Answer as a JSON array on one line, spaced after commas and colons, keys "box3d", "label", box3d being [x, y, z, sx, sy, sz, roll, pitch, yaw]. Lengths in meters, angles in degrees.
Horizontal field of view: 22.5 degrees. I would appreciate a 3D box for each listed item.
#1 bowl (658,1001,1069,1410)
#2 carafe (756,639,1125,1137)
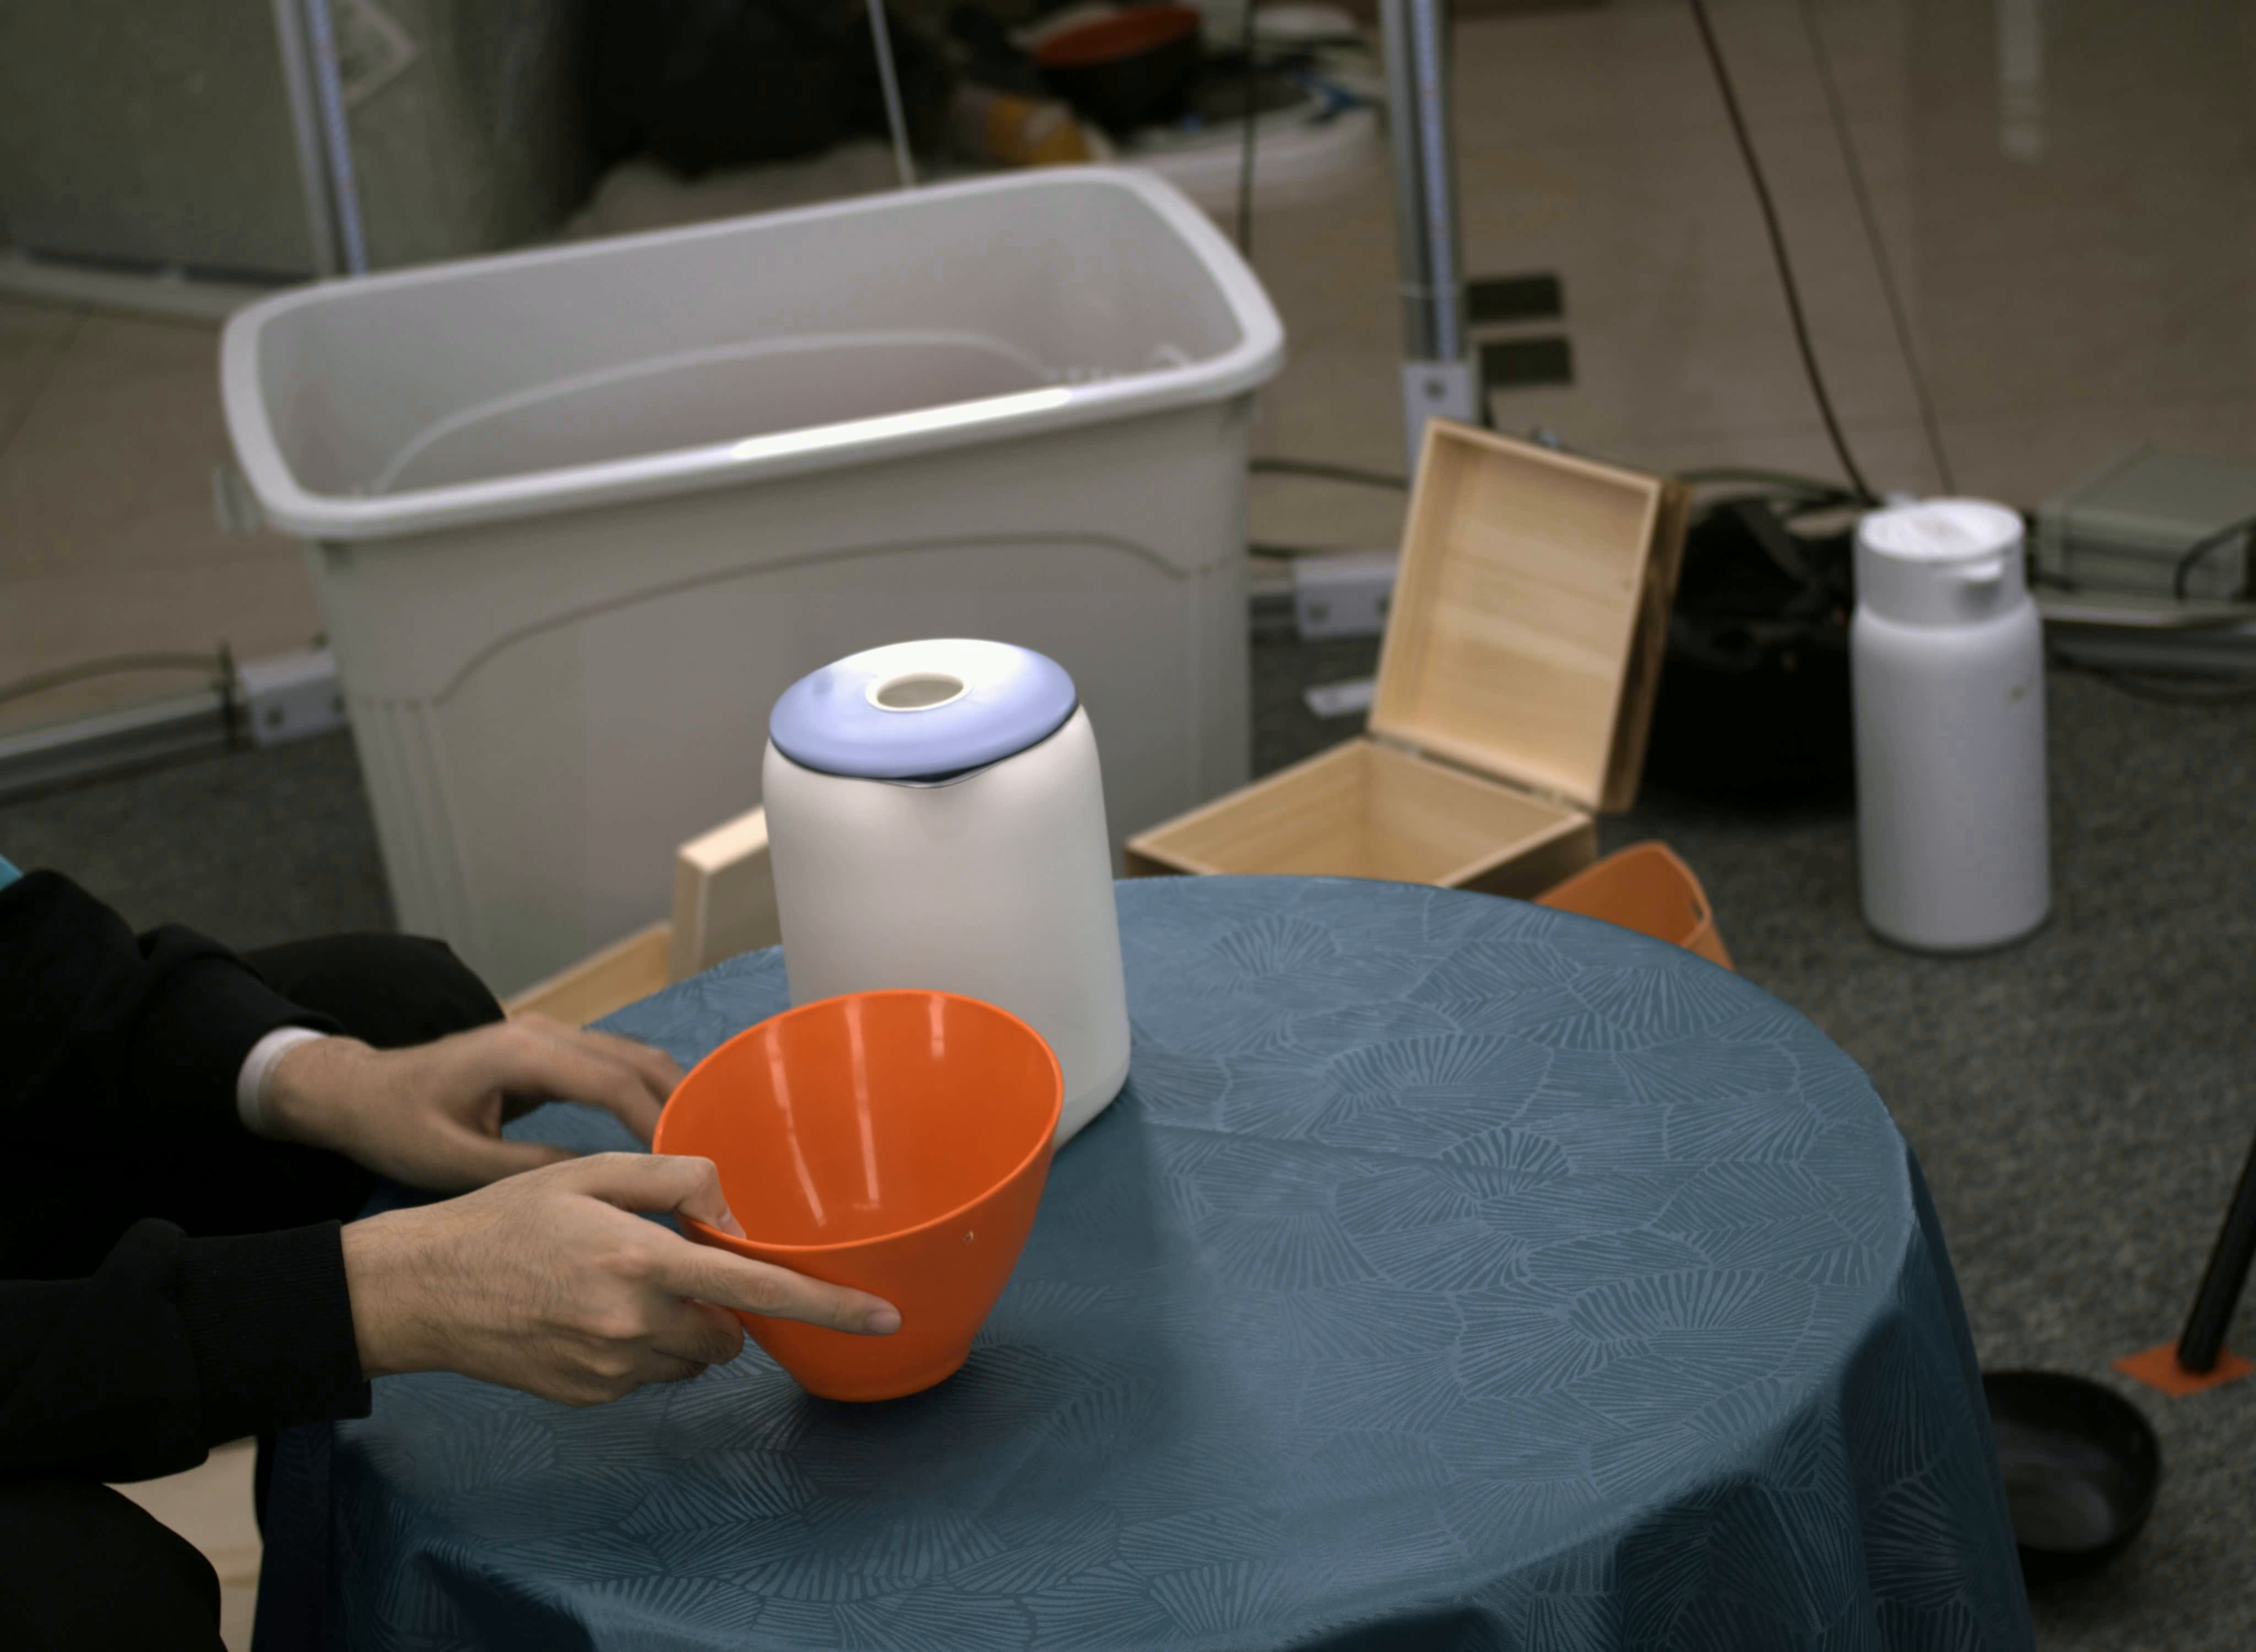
[{"box3d": [-0.089, 0.141, 2.021, 0.148, 0.106, 0.146, -6, 25, 3], "label": "bowl"}, {"box3d": [-0.076, 0.020, 2.214, 0.132, 0.185, 0.188, -8, 23, -7], "label": "carafe"}]
